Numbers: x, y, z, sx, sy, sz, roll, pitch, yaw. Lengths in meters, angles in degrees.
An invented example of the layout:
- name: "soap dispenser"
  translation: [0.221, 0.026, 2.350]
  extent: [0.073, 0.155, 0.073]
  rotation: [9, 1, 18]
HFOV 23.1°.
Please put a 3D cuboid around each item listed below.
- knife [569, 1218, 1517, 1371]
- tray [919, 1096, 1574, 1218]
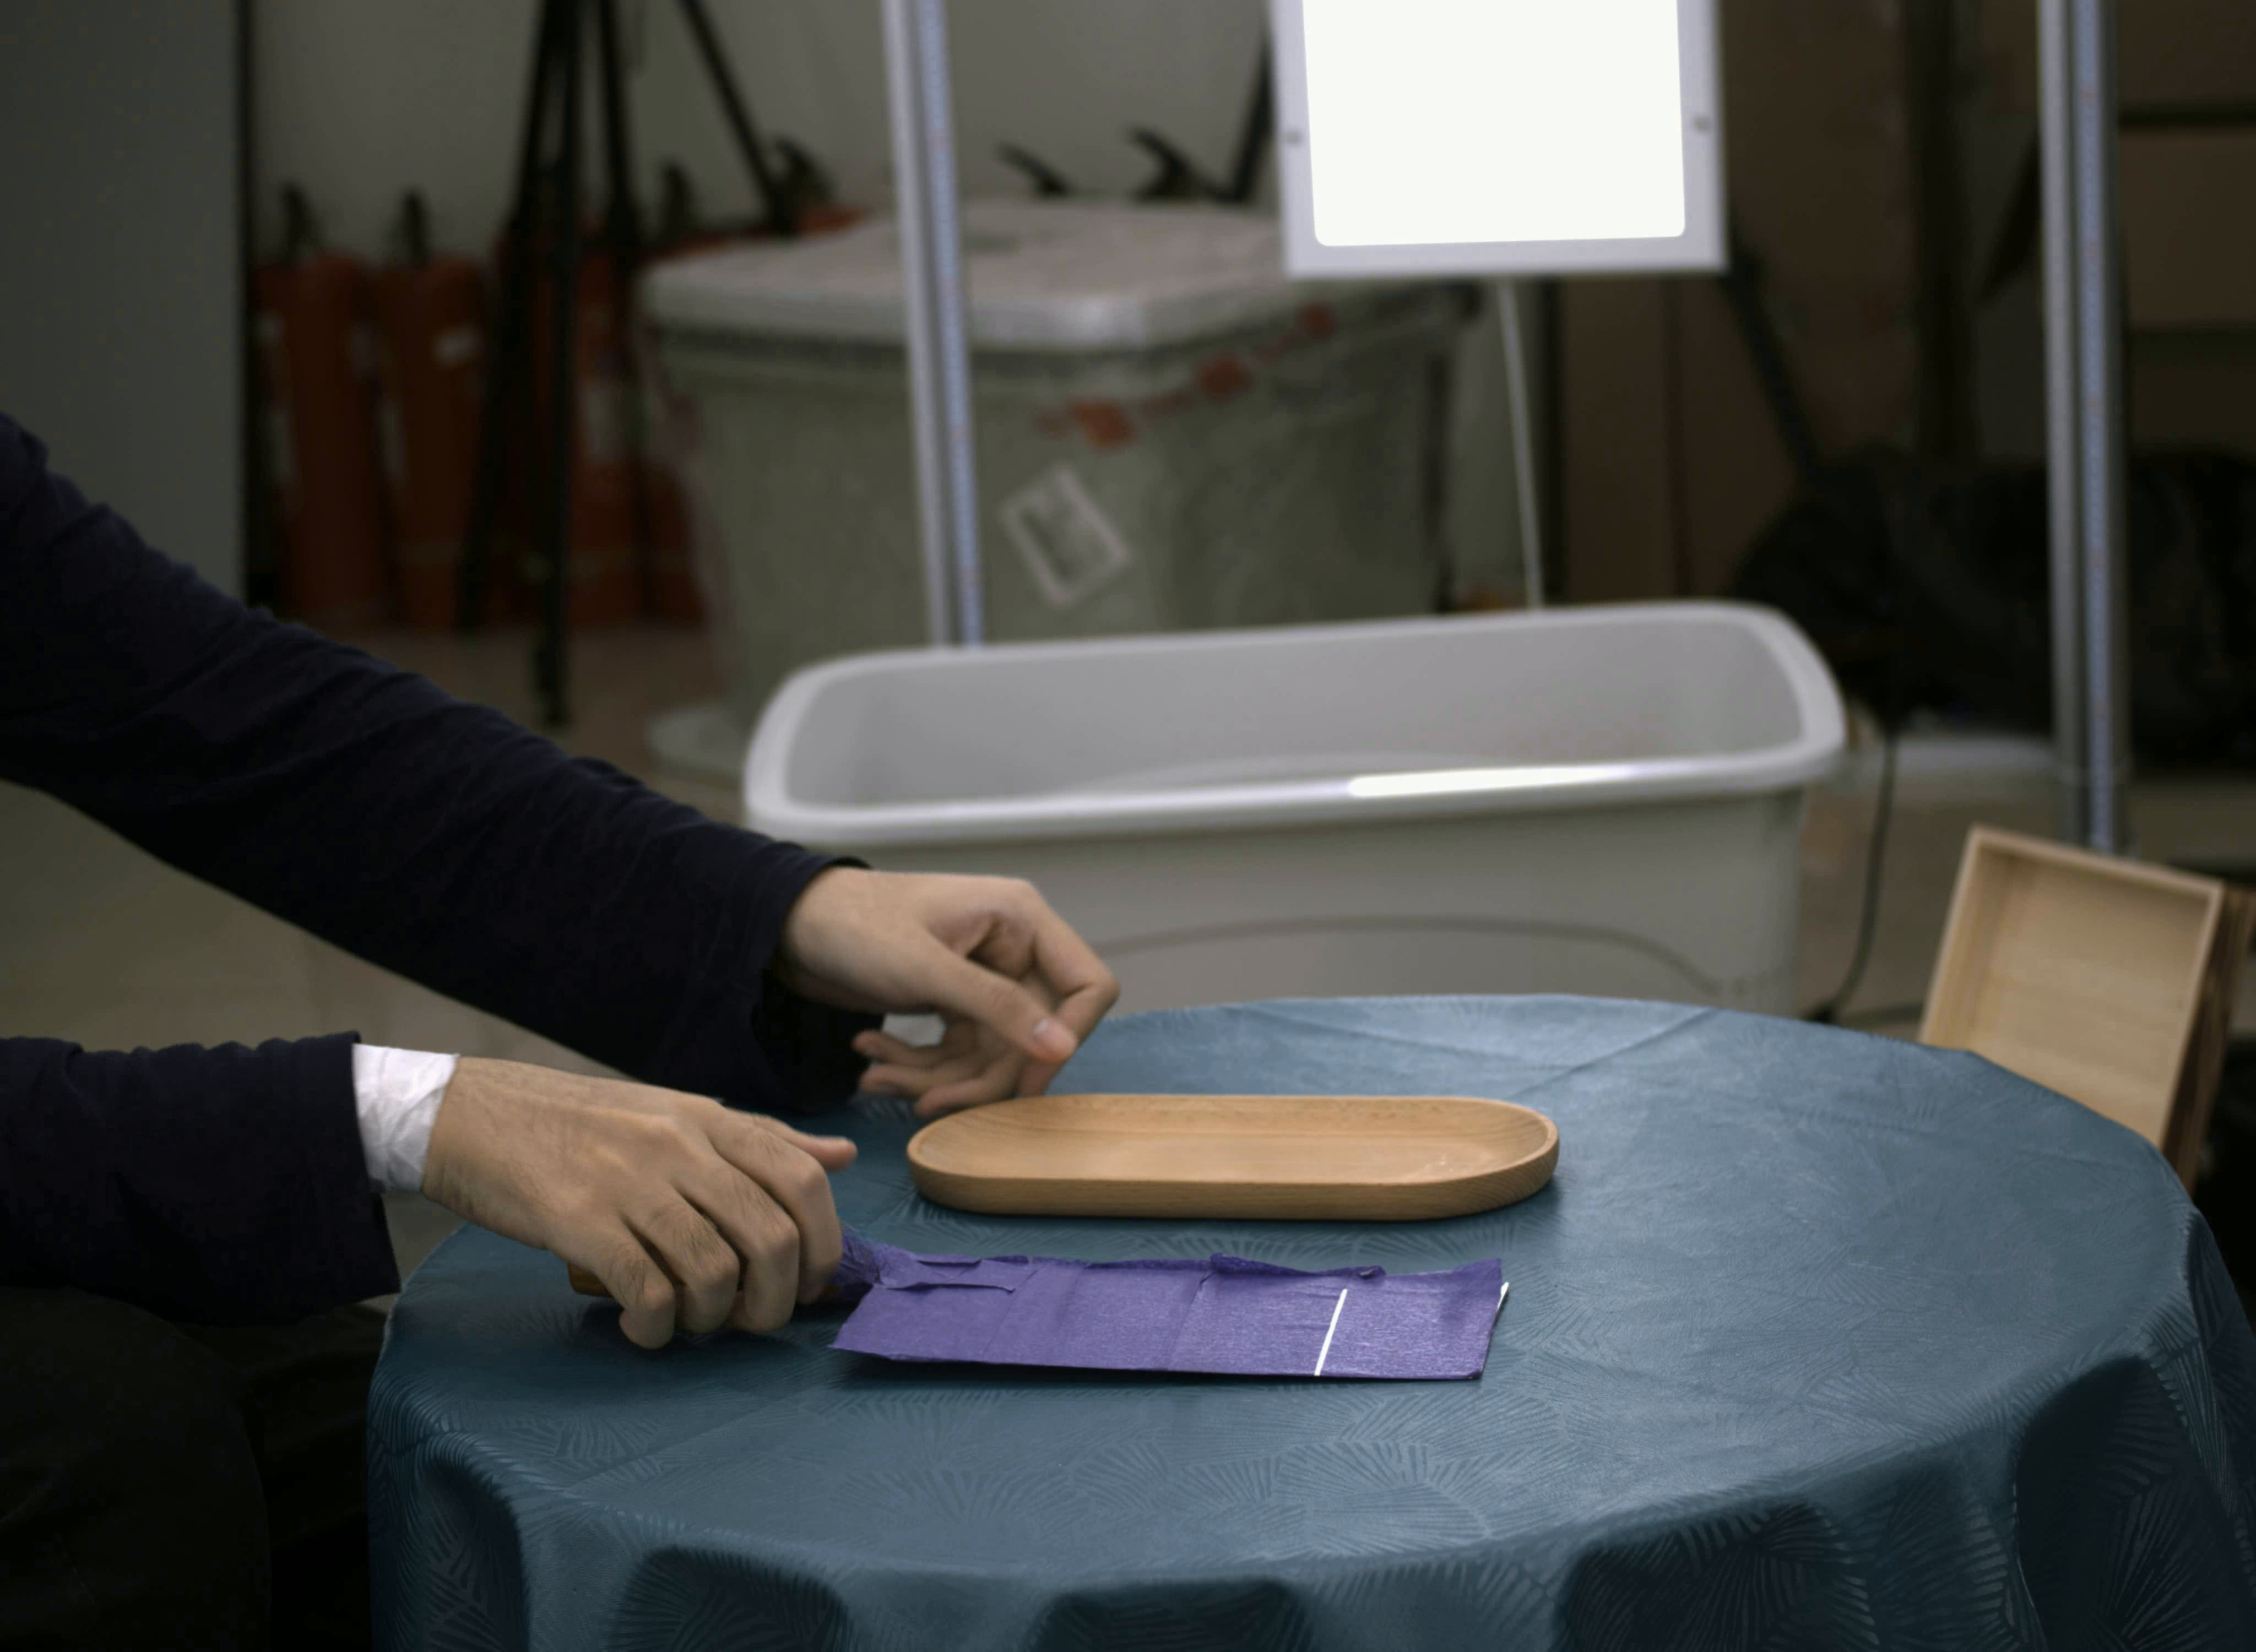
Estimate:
- name: "knife"
  translation: [-0.035, 0.150, 1.763]
  extent: [0.318, 0.032, 0.102]
  rotation: [-1, 14, 14]
- name: "tray"
  translation: [0.040, 0.115, 1.904]
  extent: [0.233, 0.020, 0.100]
  rotation: [1, 15, 17]
